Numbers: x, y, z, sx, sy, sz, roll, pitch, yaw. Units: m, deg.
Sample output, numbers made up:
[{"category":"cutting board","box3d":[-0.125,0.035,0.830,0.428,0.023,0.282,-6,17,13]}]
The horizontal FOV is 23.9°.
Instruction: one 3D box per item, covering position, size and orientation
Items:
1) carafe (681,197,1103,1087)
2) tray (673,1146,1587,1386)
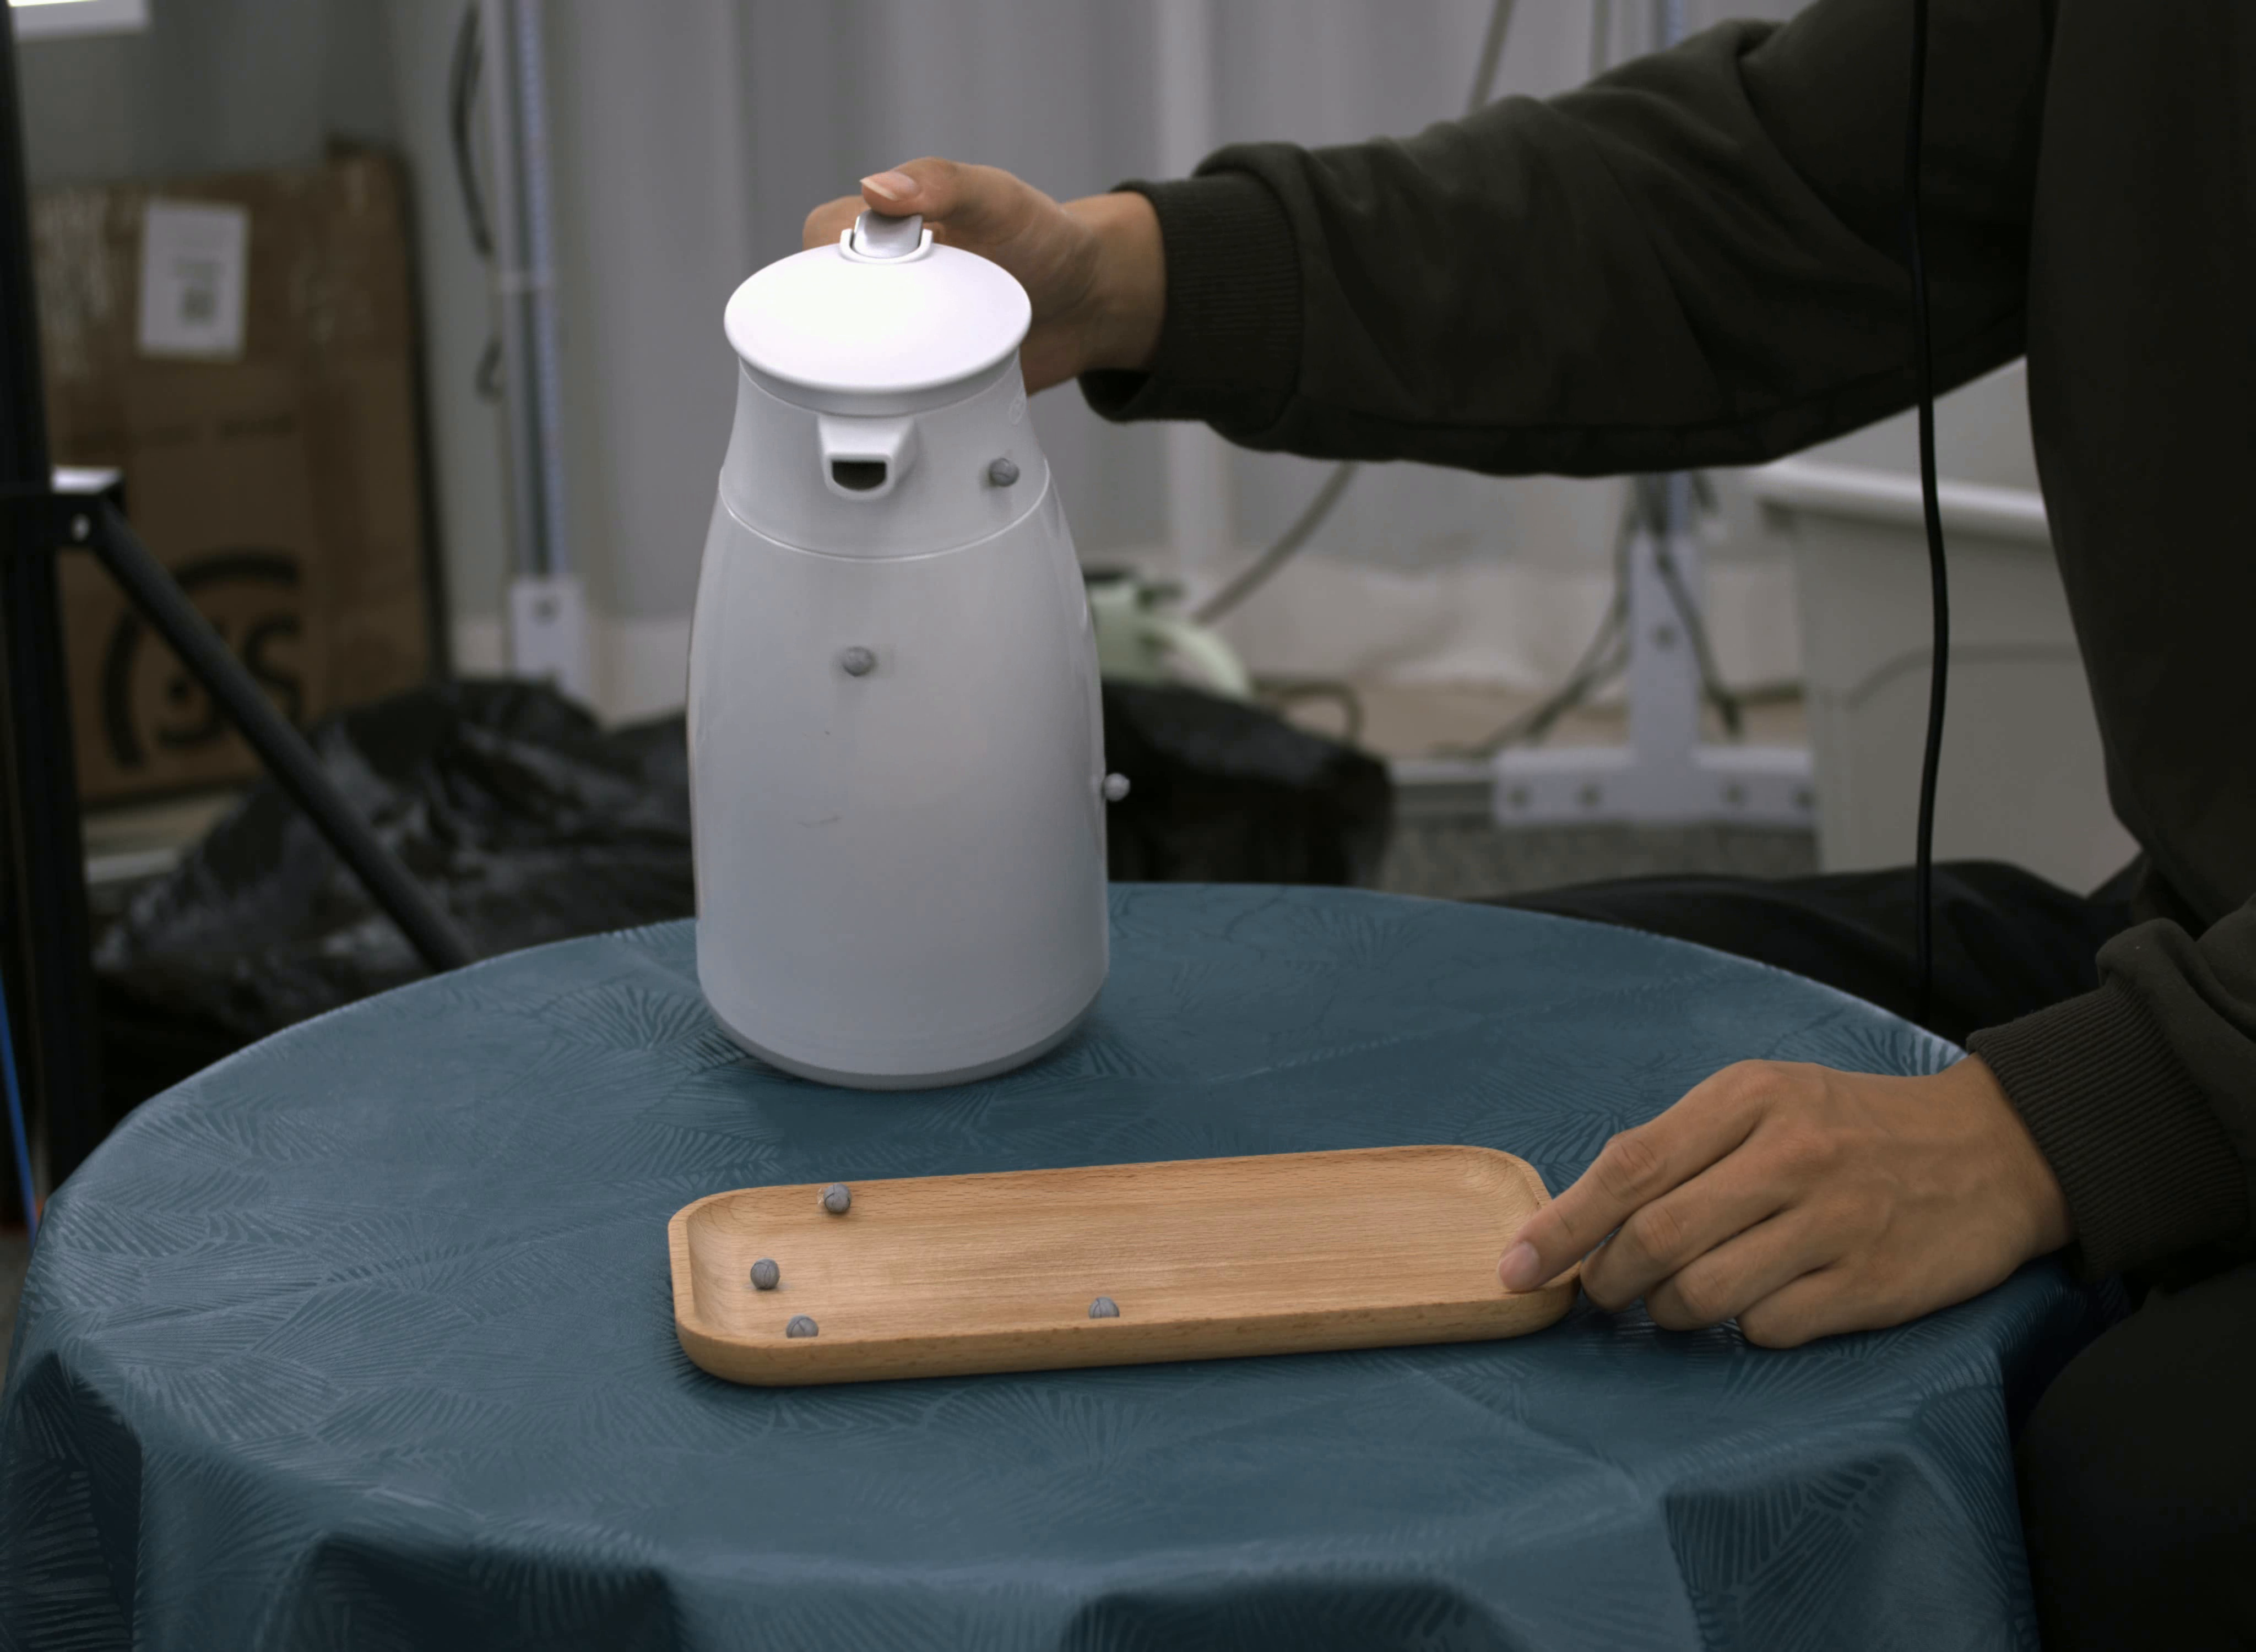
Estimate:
[{"category":"carafe","box3d":[-0.075,-0.068,1.665,0.132,0.247,0.169,0,32,3]},{"category":"tray","box3d":[-0.001,0.123,1.481,0.249,0.023,0.131,-2,18,-3]}]
